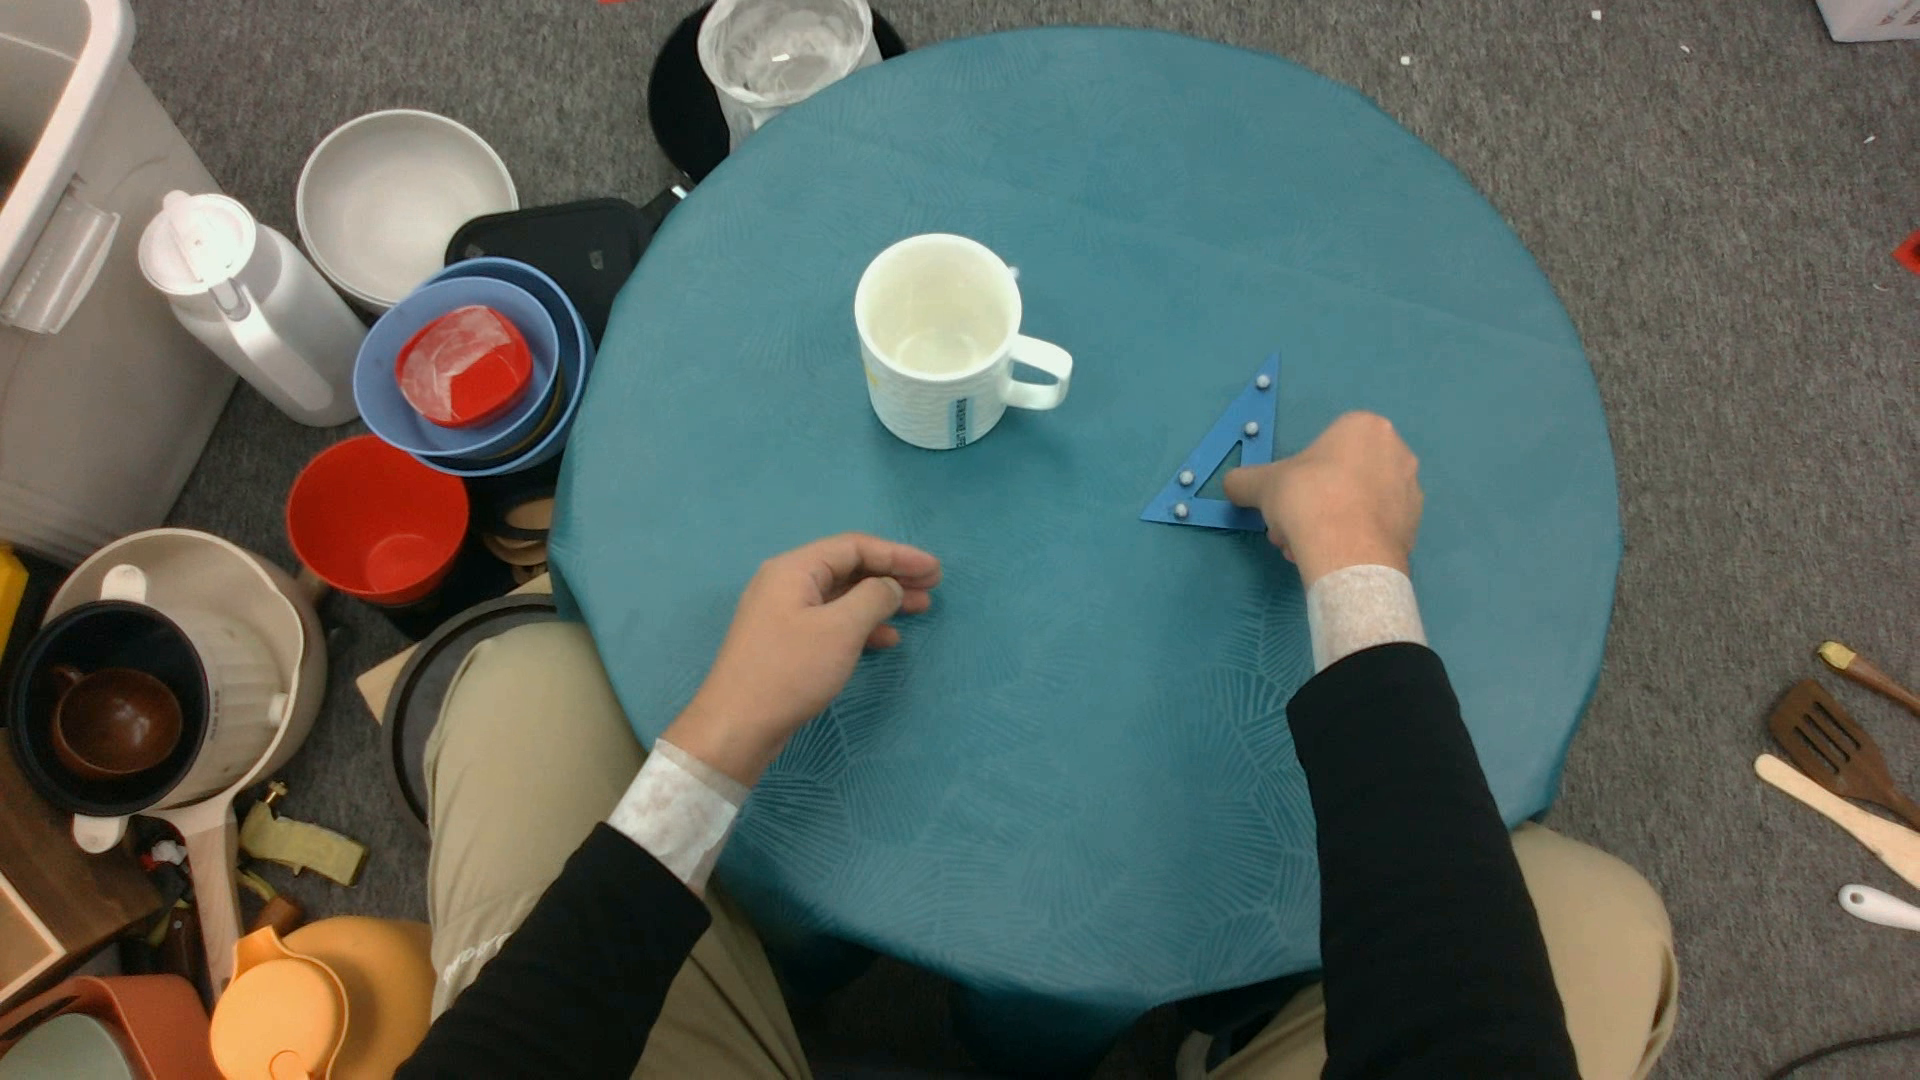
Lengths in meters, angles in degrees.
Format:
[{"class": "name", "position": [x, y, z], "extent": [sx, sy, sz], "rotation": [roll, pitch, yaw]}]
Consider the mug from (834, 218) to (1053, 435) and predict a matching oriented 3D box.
[{"class": "mug", "position": [-0.007, -0.109, 0.755], "extent": [0.118, 0.101, 0.085], "rotation": [18, 72, 5]}]

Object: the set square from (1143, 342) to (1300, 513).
[{"class": "set square", "position": [0.168, -0.059, 0.789], "extent": [0.061, 0.006, 0.132], "rotation": [39, 75, 21]}]
